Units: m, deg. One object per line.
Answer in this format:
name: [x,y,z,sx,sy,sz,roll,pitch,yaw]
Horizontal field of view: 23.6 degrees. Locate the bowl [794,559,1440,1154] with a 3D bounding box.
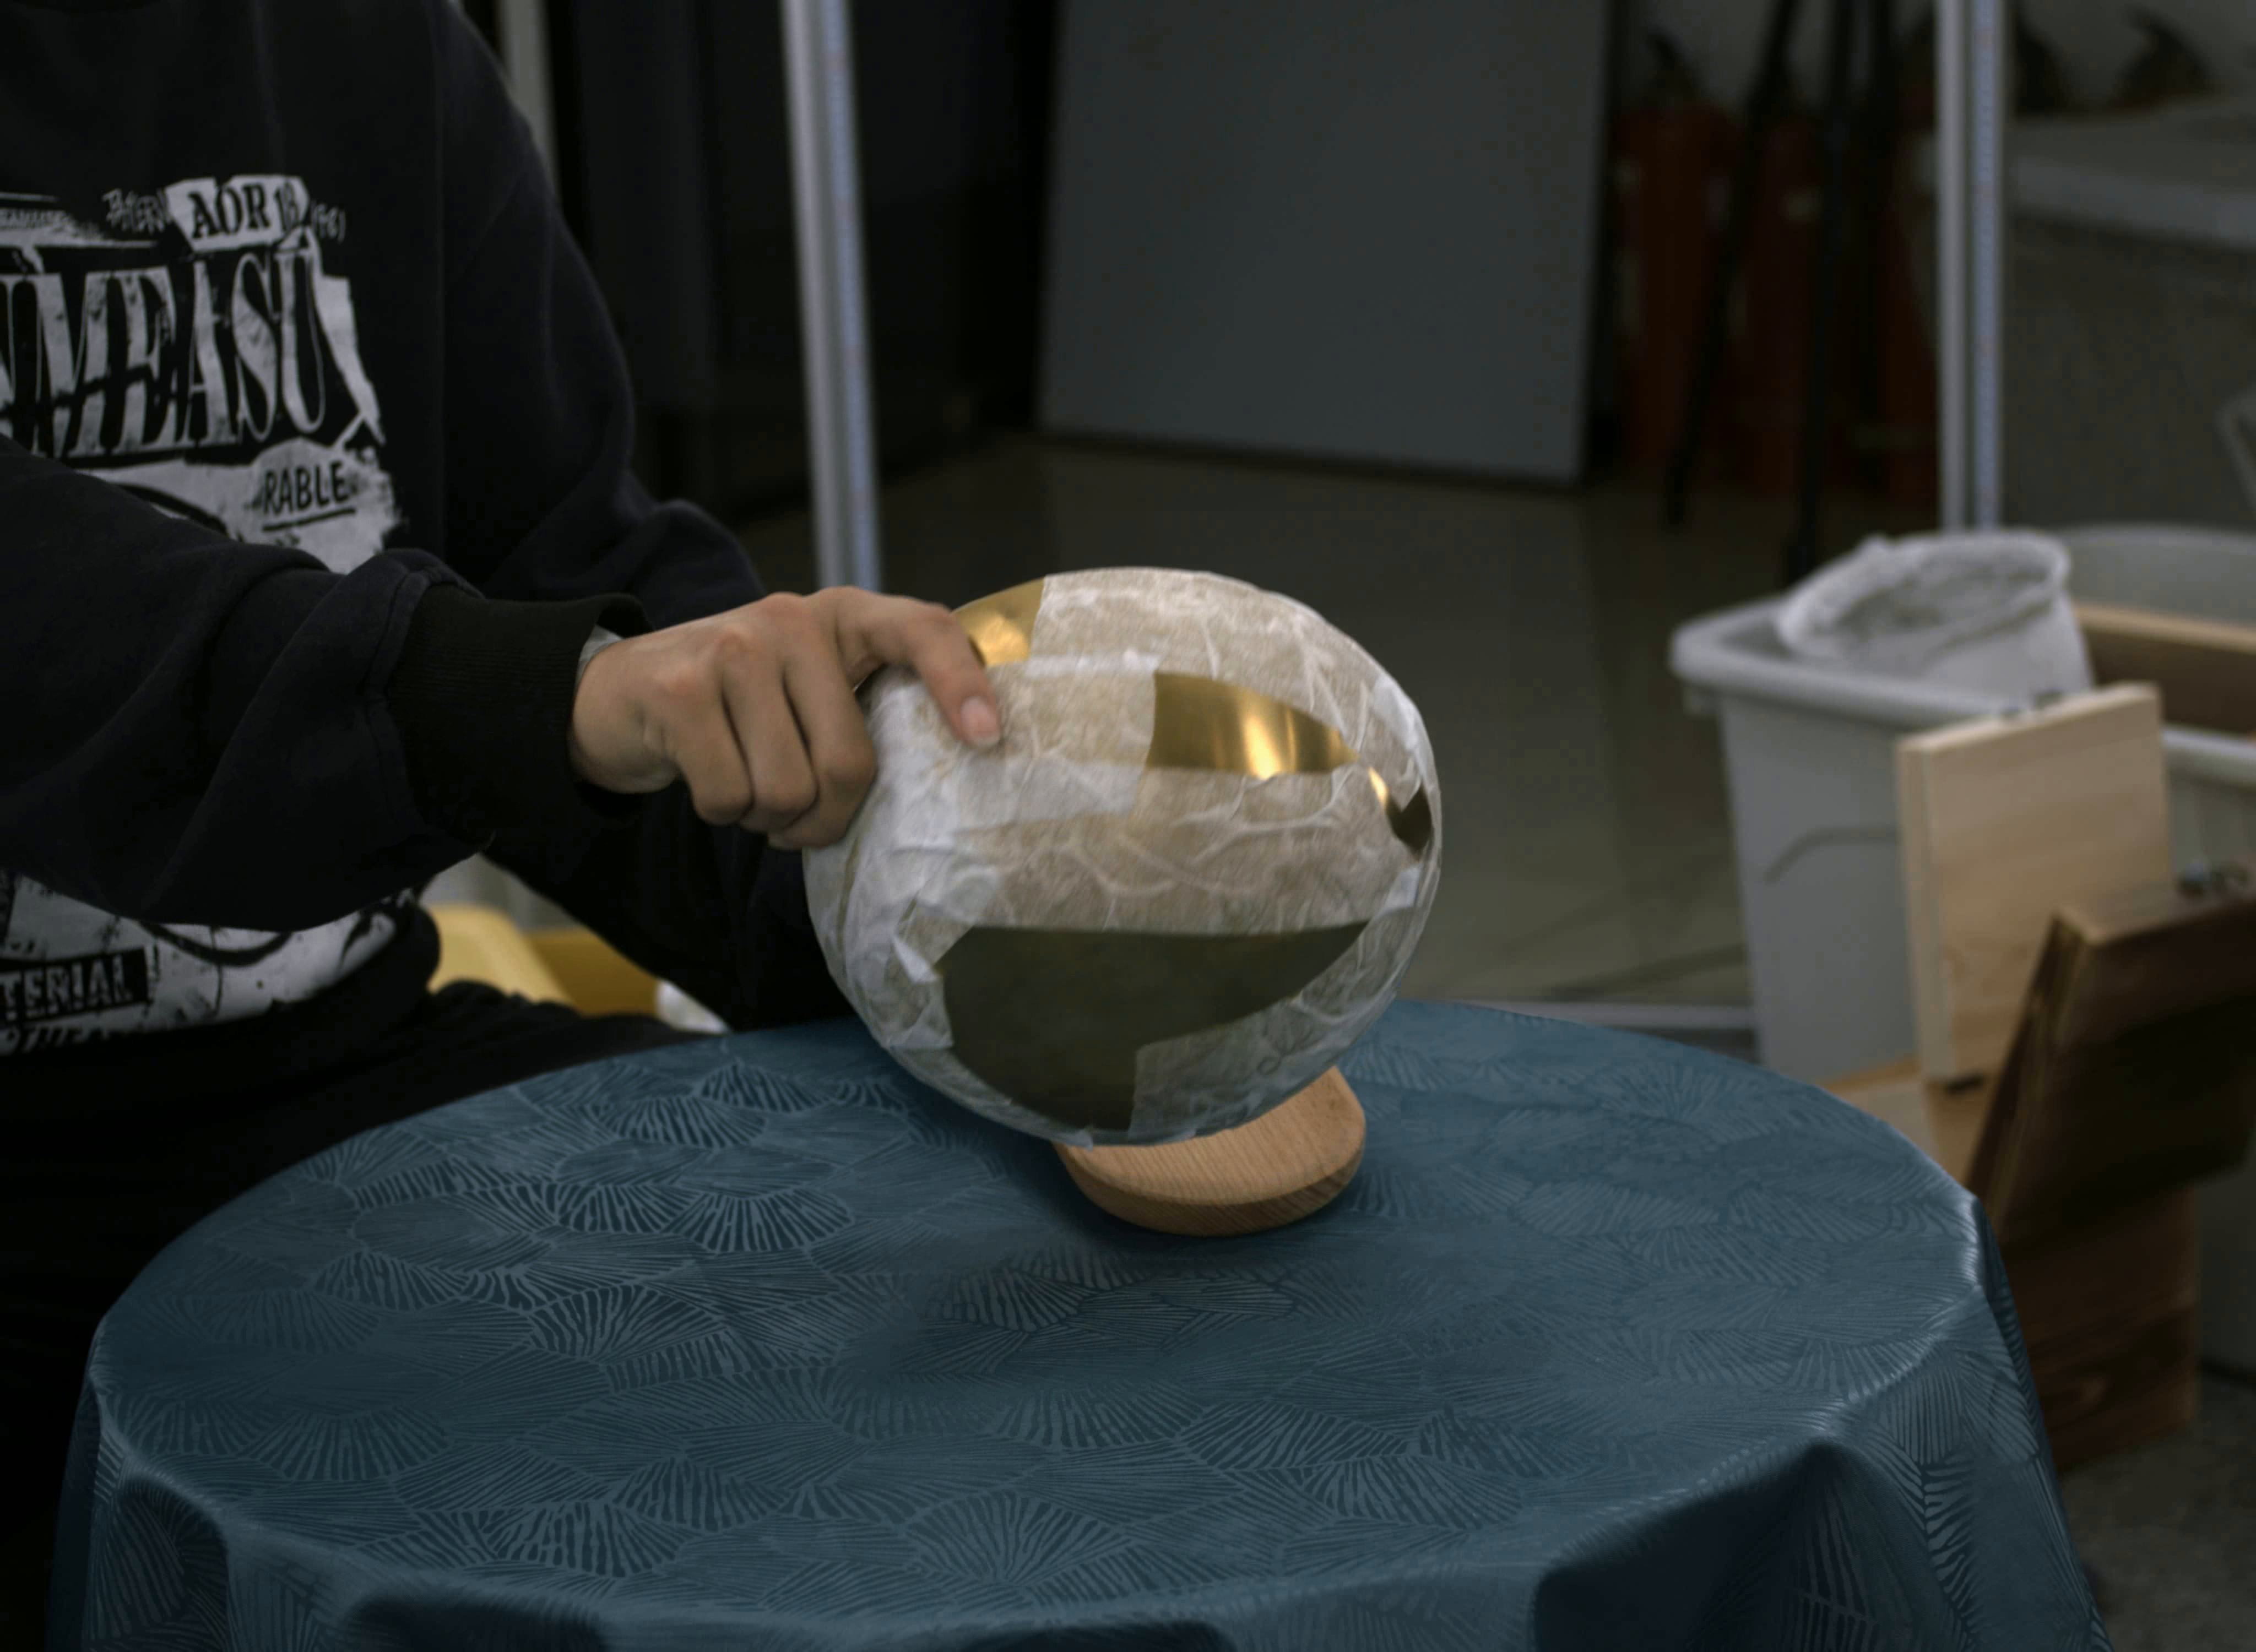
bowl: [-0.002,0.031,1.638,0.212,0.216,0.095,-3,38,0]

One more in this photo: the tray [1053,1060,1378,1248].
tray: [0.011,0.075,1.811,0.100,0.020,0.233,-12,32,-13]
